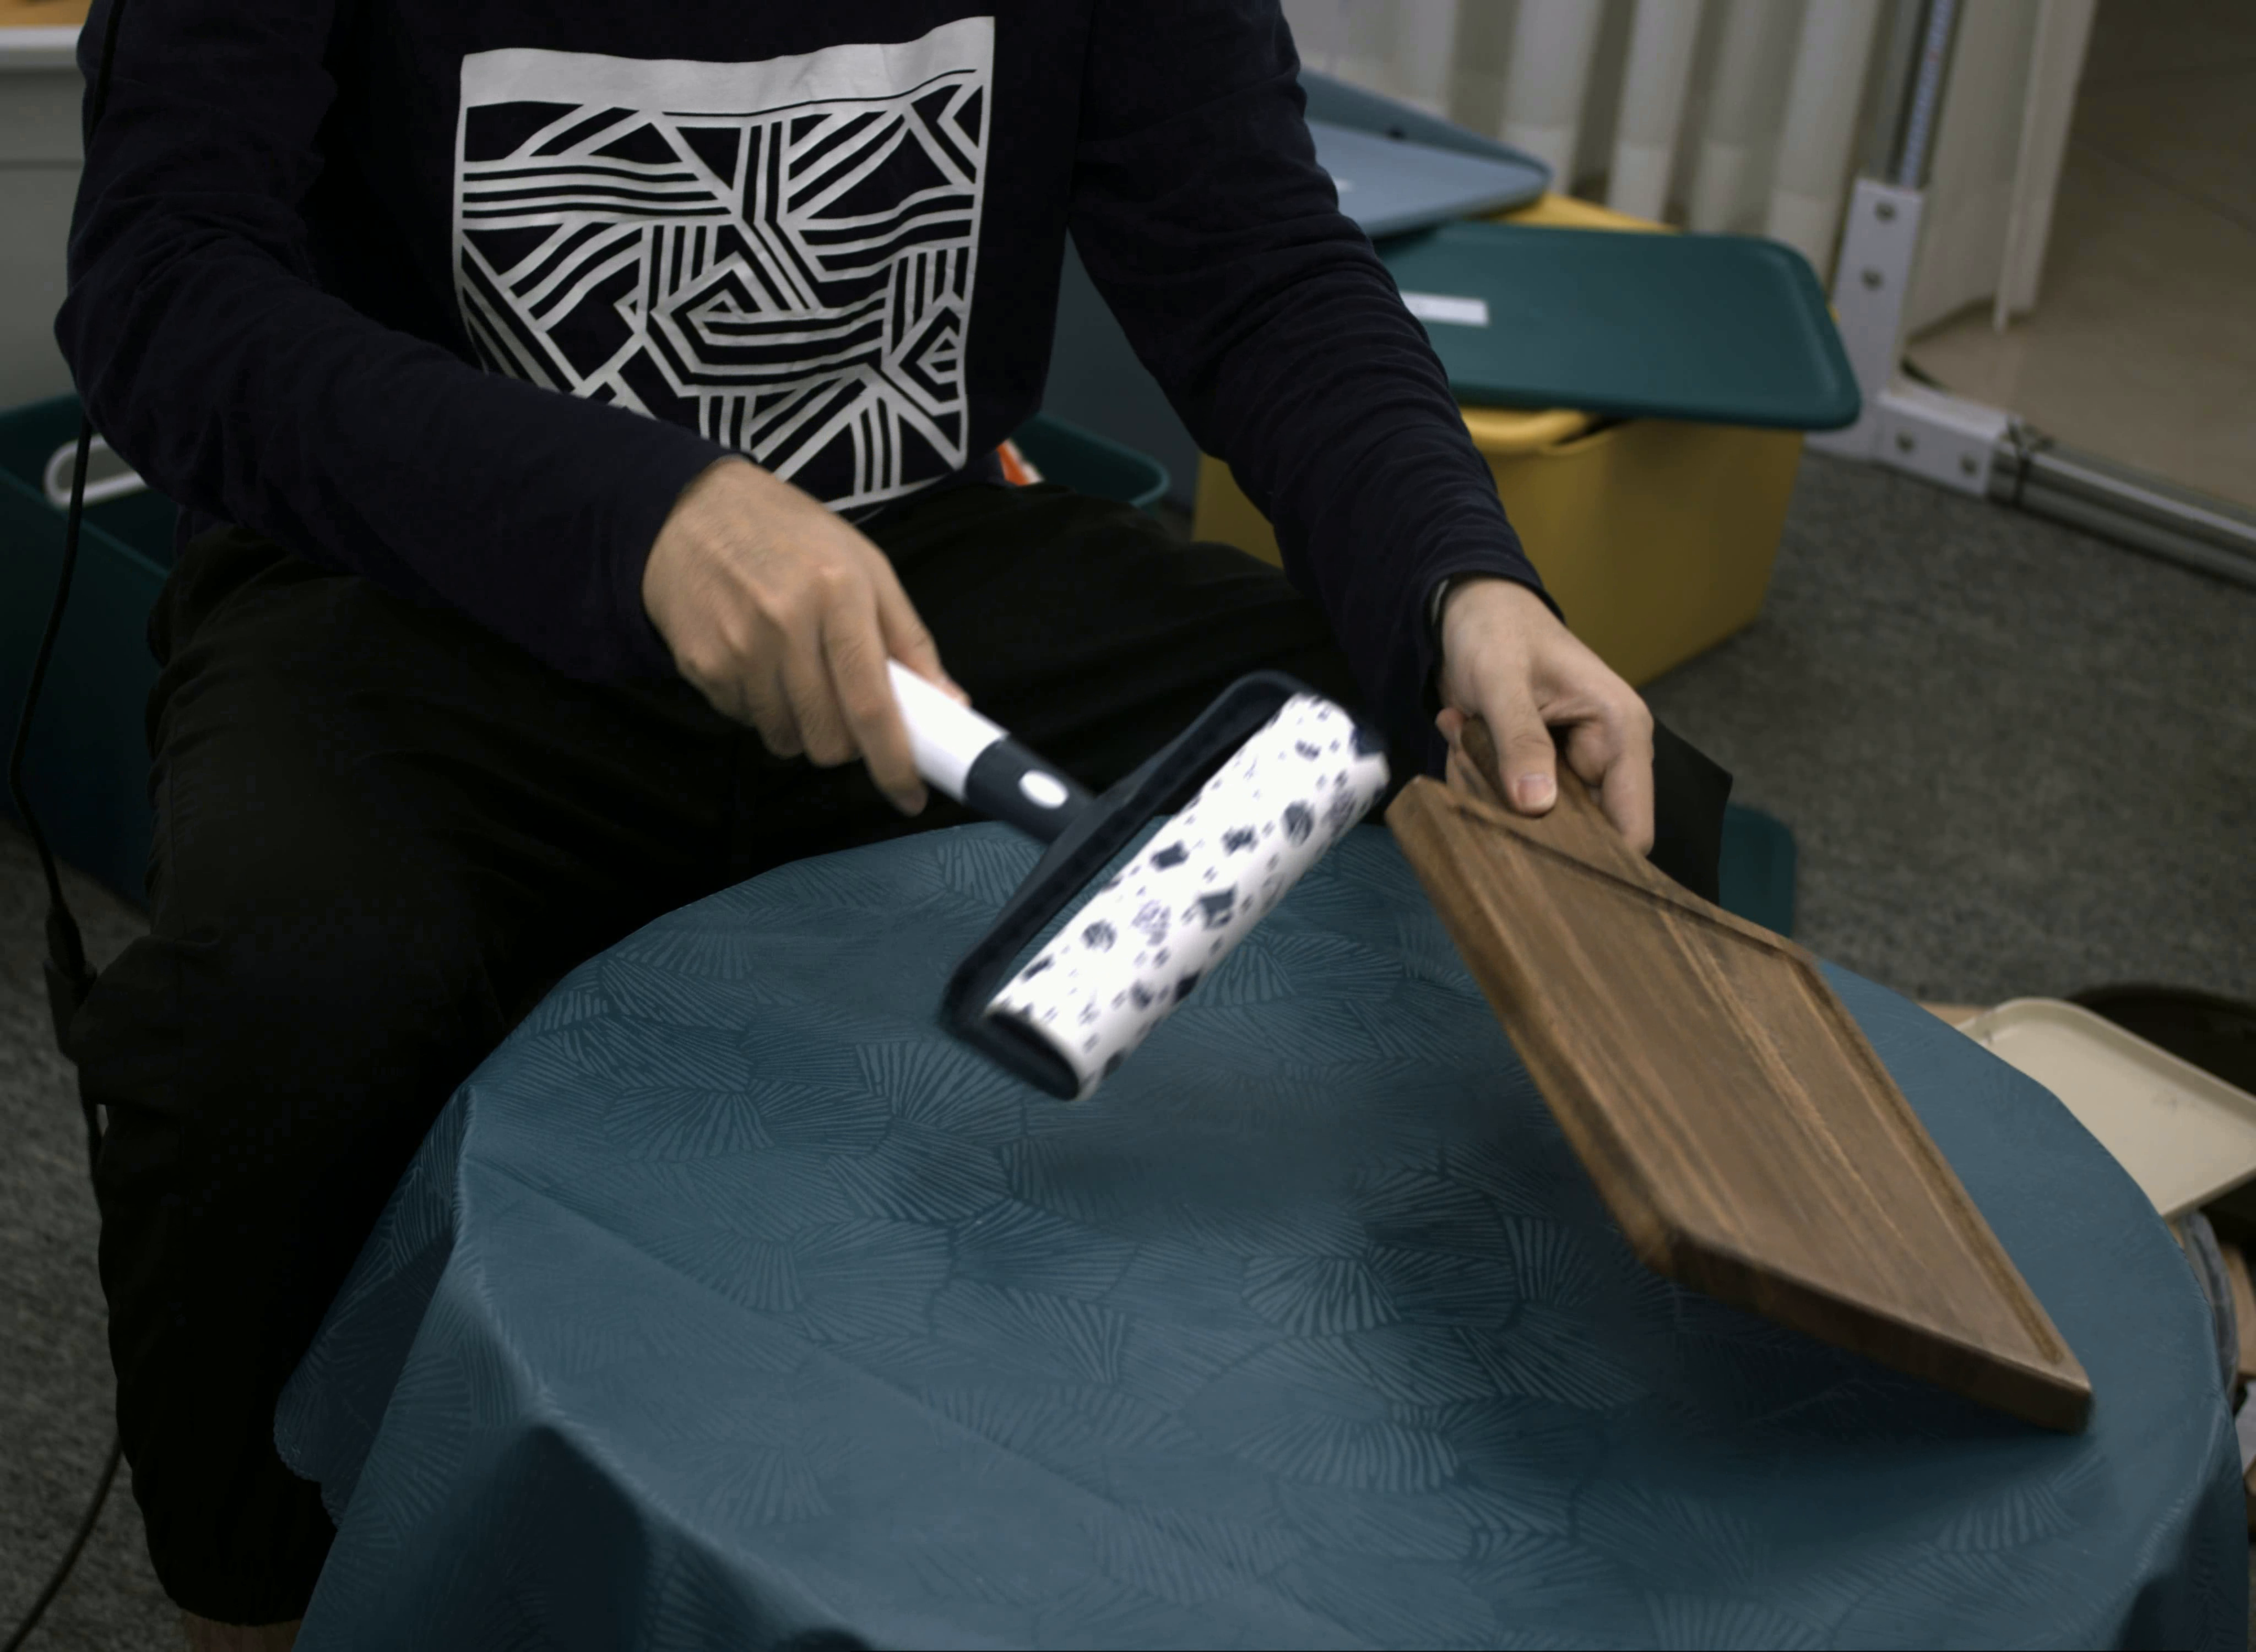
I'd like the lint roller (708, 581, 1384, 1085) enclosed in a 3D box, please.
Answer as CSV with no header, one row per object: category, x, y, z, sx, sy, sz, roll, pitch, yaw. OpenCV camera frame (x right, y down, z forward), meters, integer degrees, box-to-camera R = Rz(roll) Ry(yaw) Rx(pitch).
lint roller,-0.055,-0.027,1.860,0.248,0.050,0.176,31,63,27

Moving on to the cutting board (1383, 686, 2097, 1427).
cutting board,0.187,0.060,1.809,0.199,0.023,0.355,24,24,-33
